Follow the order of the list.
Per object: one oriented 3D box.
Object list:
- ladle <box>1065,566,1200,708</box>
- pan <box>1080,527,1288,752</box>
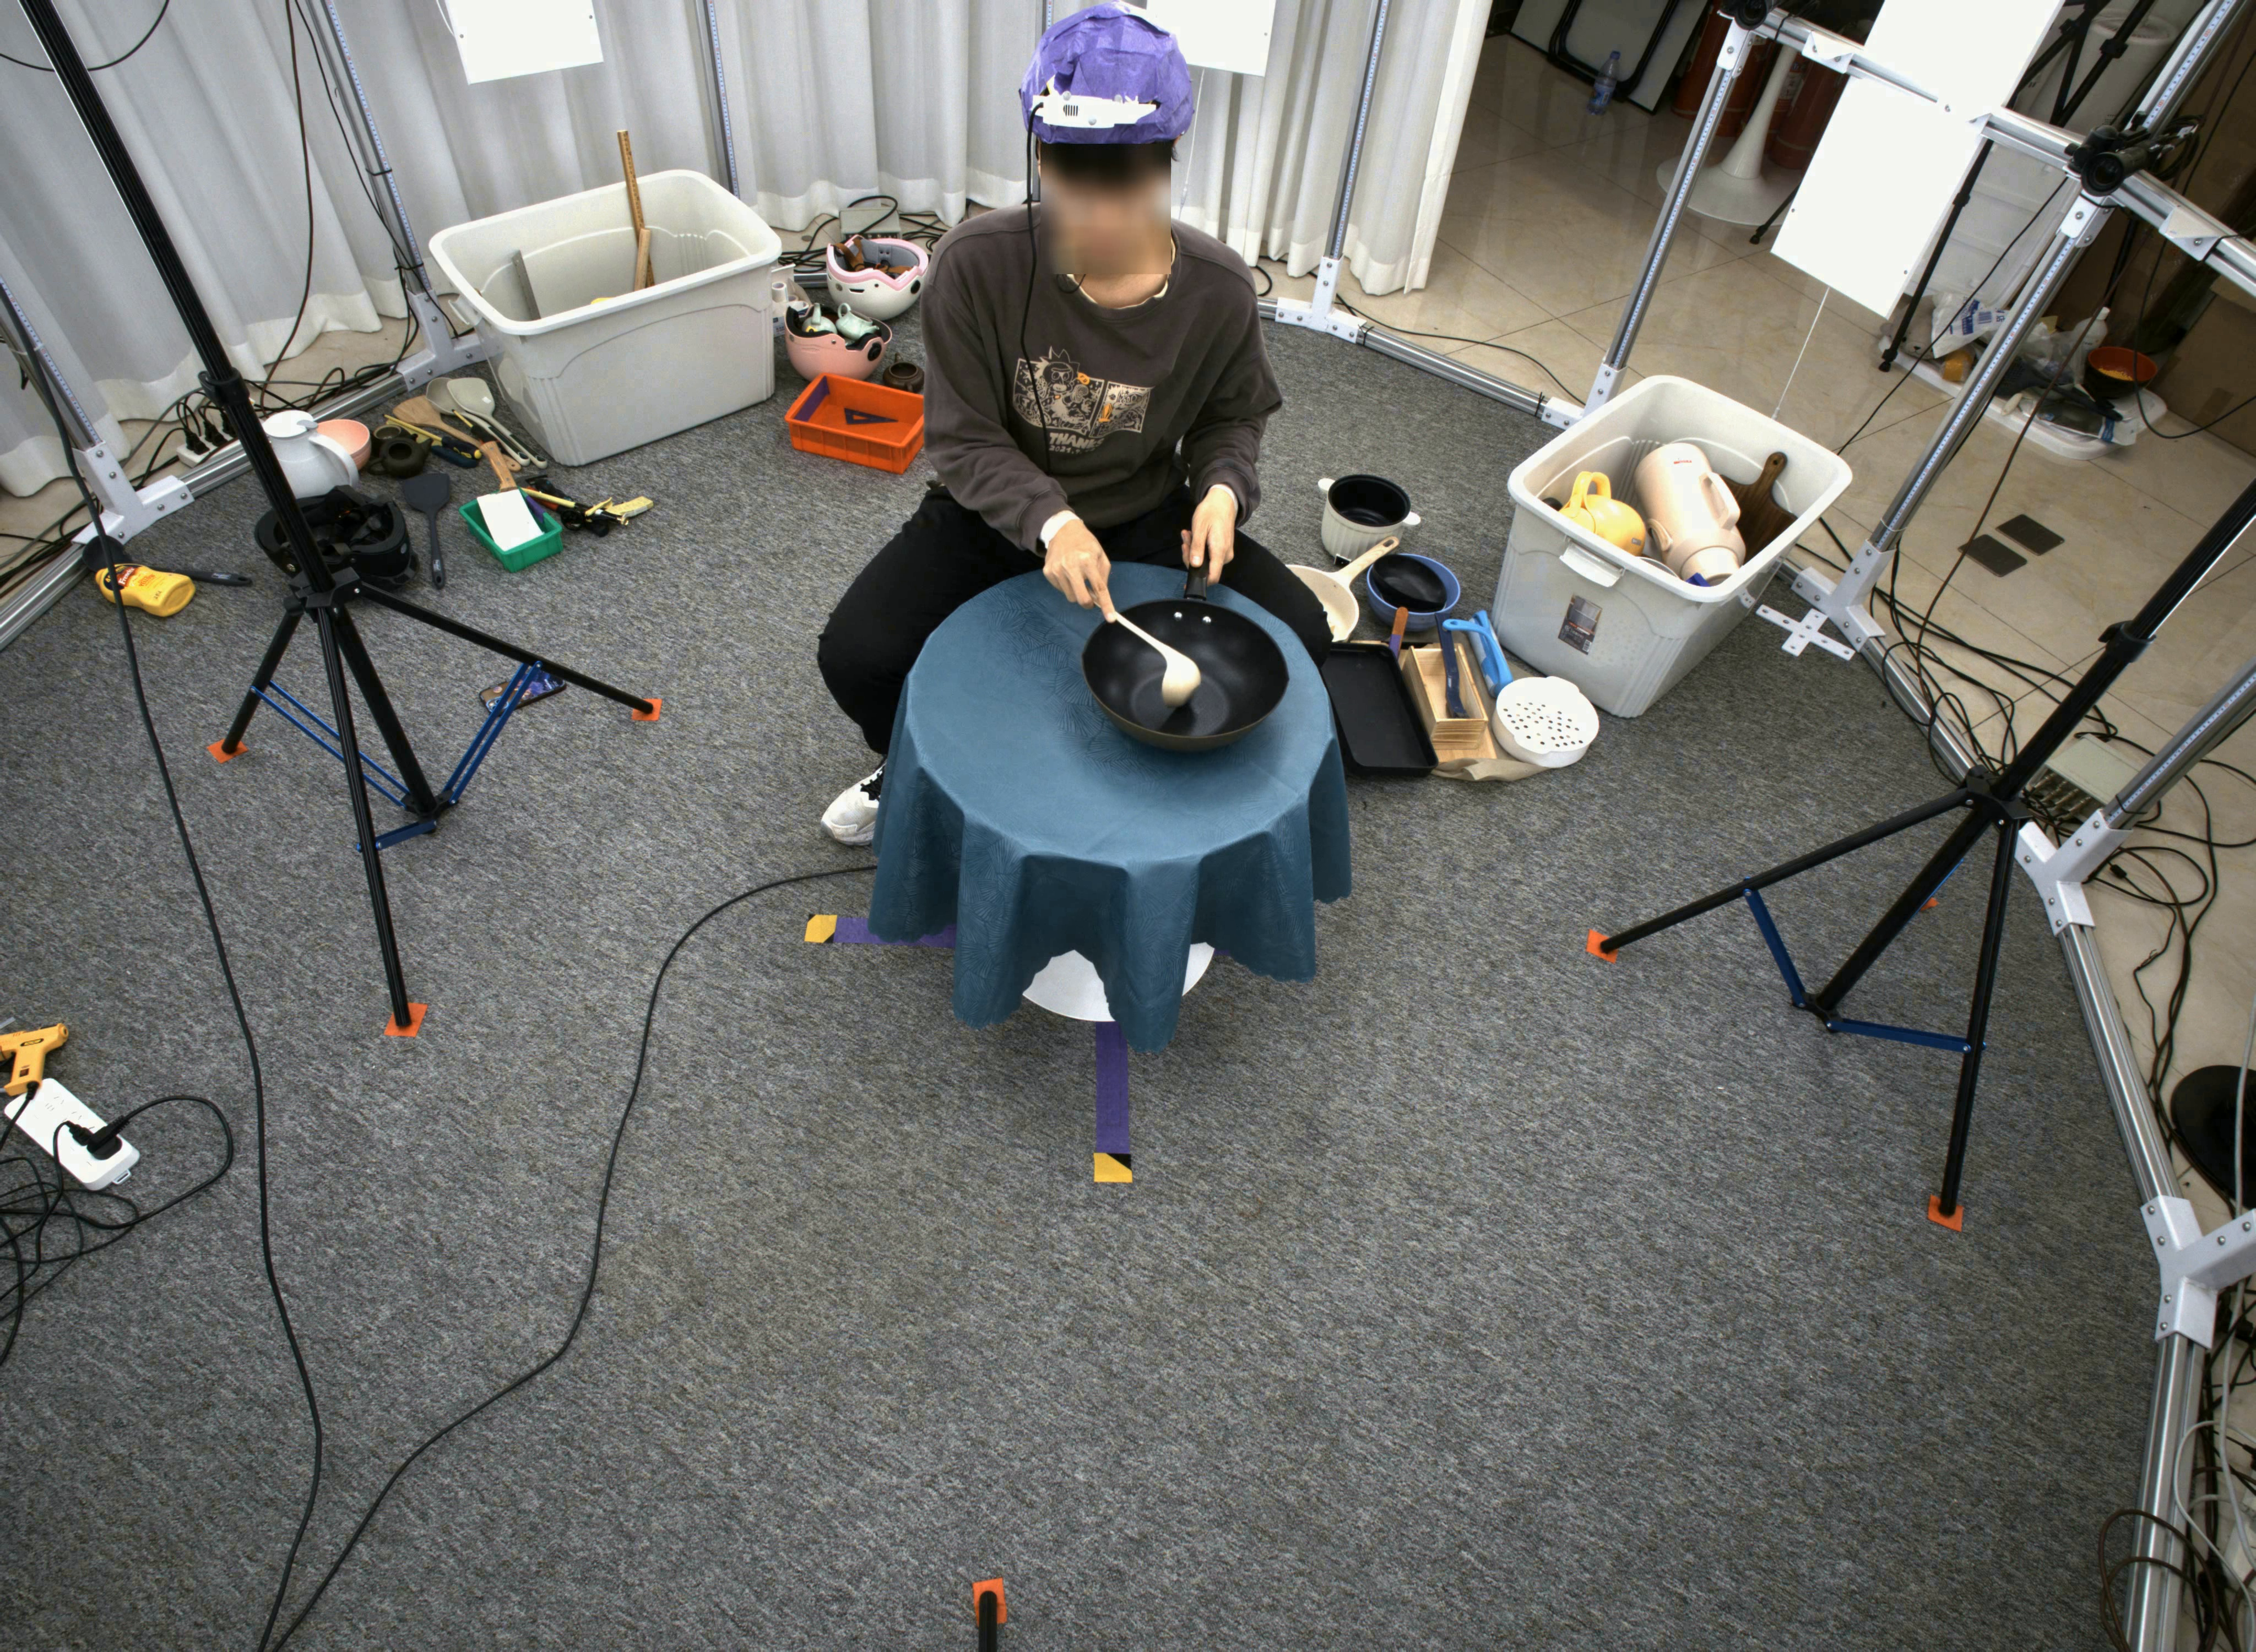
[{"bbox_3d":[-0.005,-0.264,1.816,0.257,0.071,0.073,41,49,16],"label":"ladle"},{"bbox_3d":[0.086,-0.264,1.848,0.288,0.085,0.474,7,48,3],"label":"pan"}]
